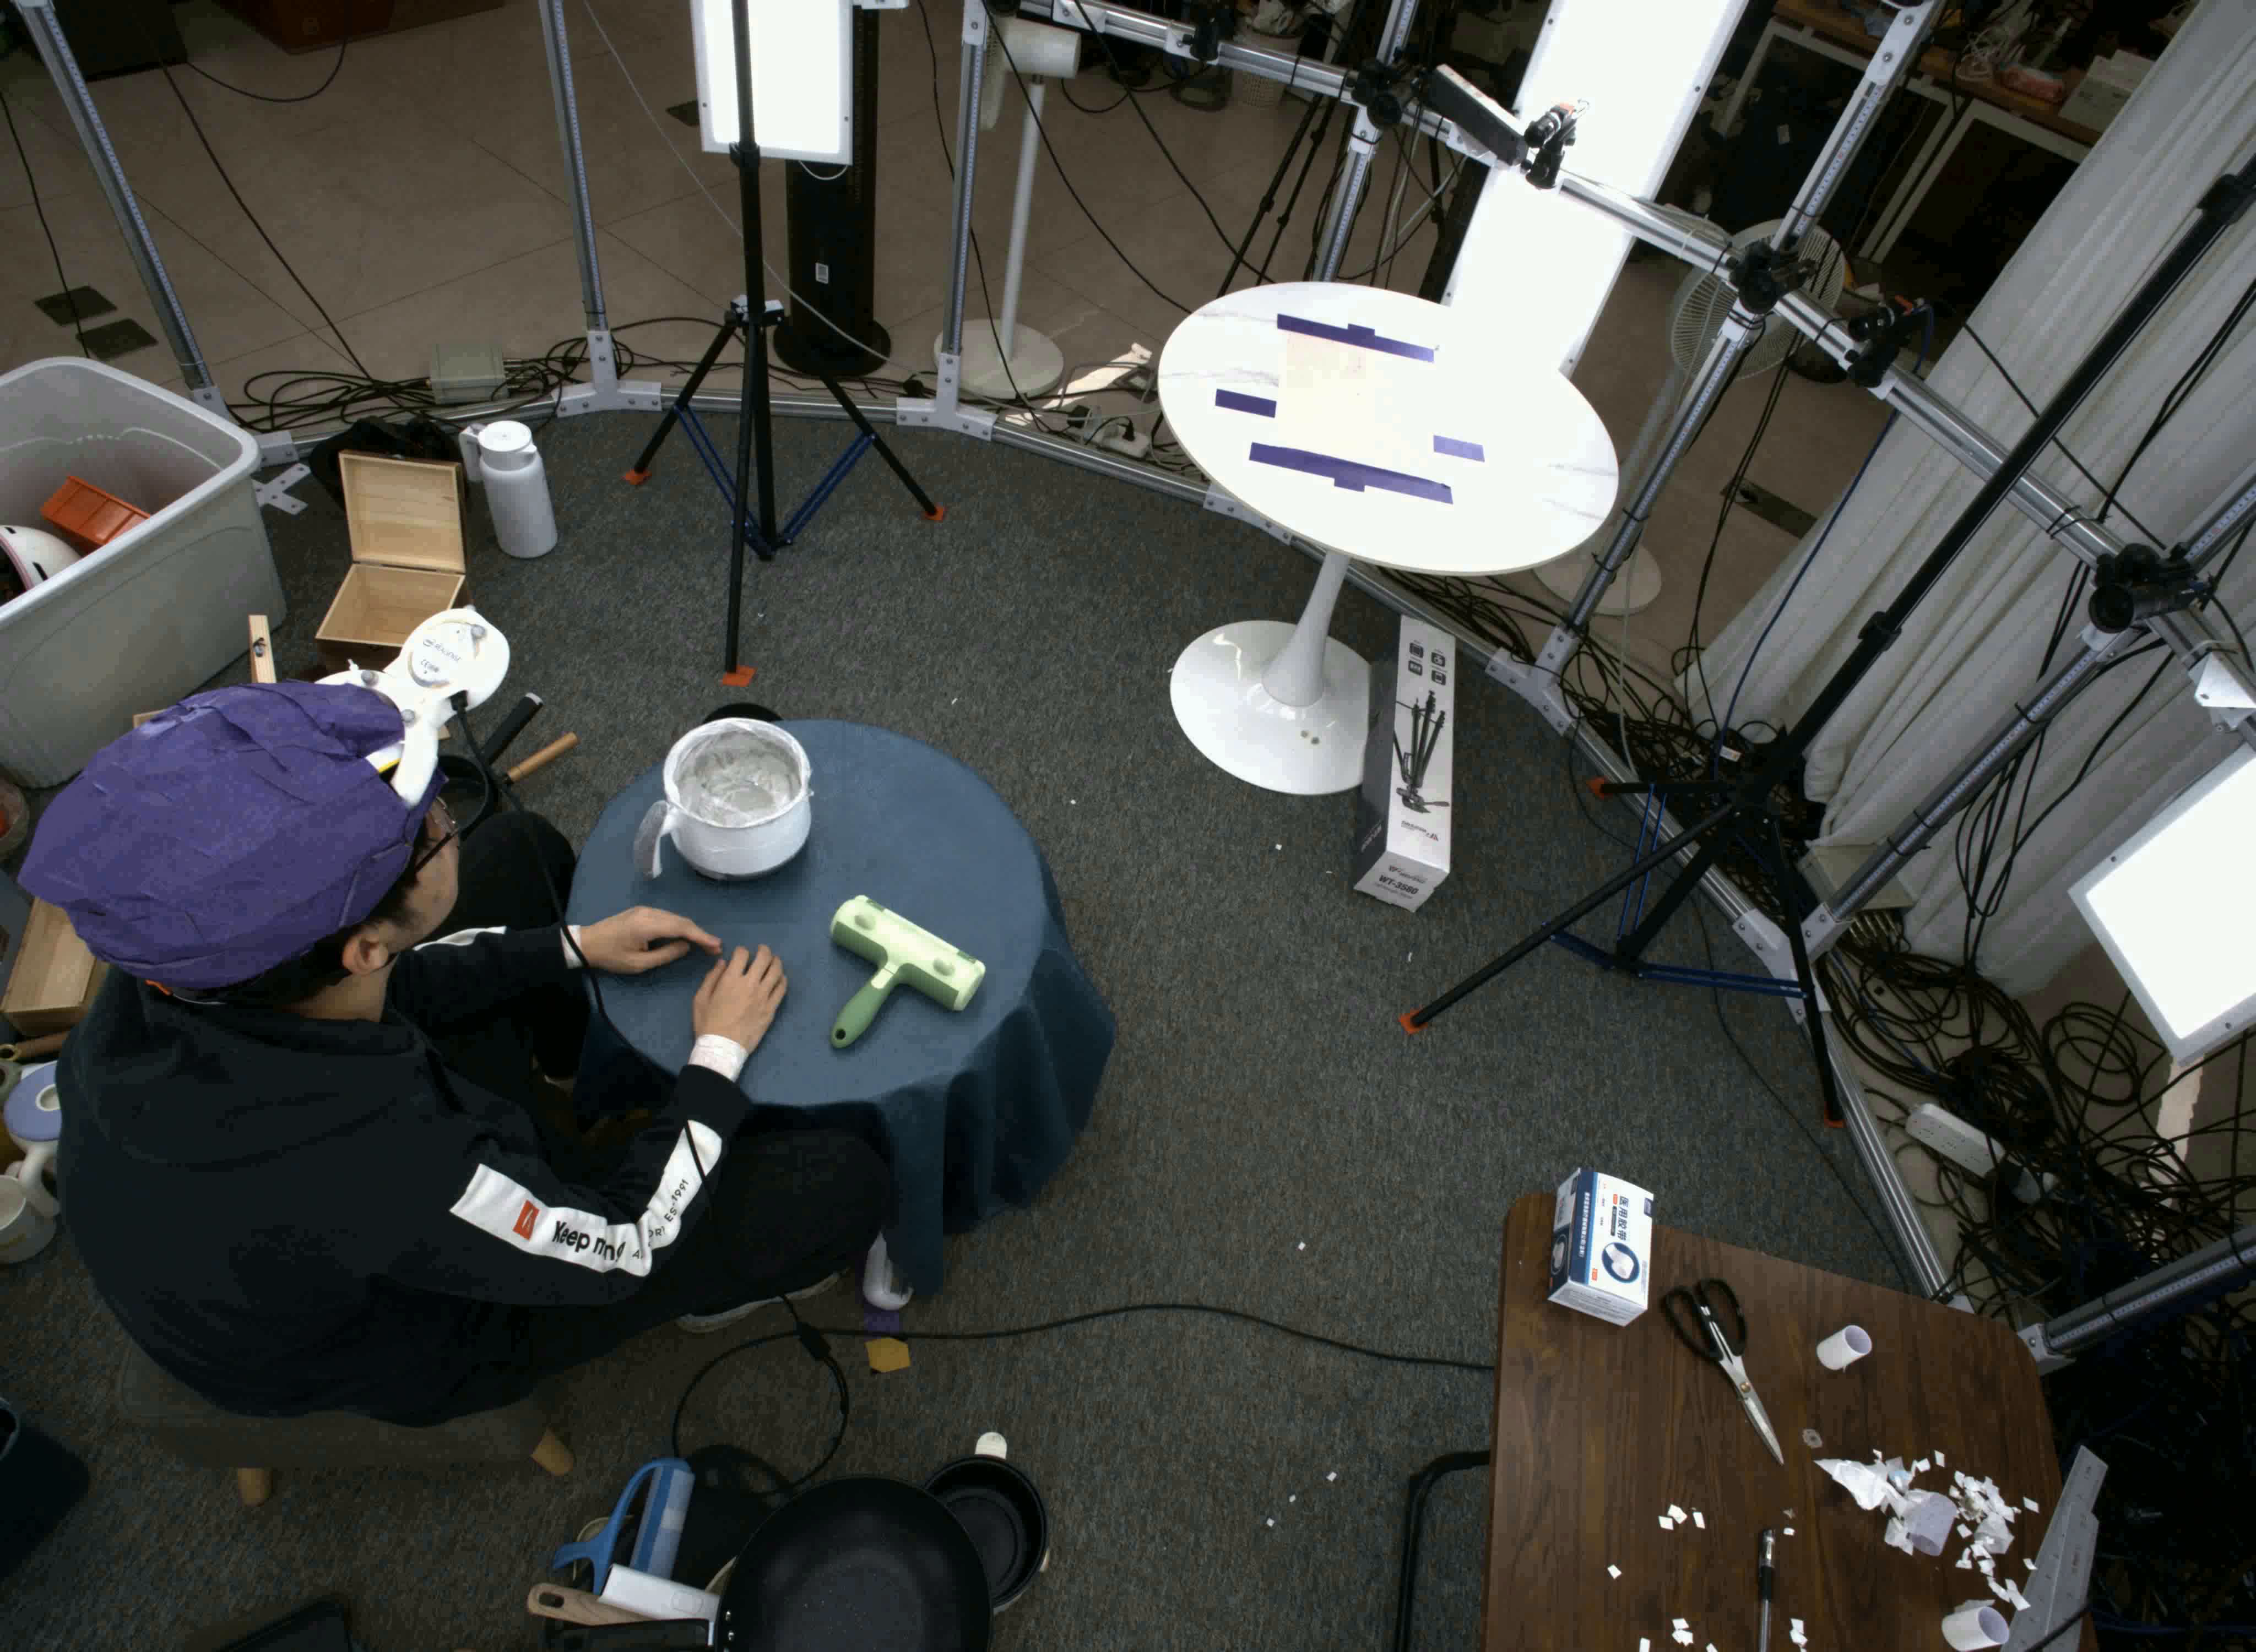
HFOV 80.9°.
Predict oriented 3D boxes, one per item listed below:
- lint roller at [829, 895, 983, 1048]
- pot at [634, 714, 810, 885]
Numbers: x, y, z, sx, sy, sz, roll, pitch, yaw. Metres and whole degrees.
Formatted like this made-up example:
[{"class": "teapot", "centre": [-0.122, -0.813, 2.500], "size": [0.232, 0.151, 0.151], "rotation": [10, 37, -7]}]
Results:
[{"class": "lint roller", "centre": [-0.302, 0.184, 1.578], "size": [0.195, 0.084, 0.182], "rotation": [29, 47, 8]}, {"class": "pot", "centre": [-0.516, -0.021, 1.631], "size": [0.234, 0.139, 0.174], "rotation": [-31, 65, -32]}]
